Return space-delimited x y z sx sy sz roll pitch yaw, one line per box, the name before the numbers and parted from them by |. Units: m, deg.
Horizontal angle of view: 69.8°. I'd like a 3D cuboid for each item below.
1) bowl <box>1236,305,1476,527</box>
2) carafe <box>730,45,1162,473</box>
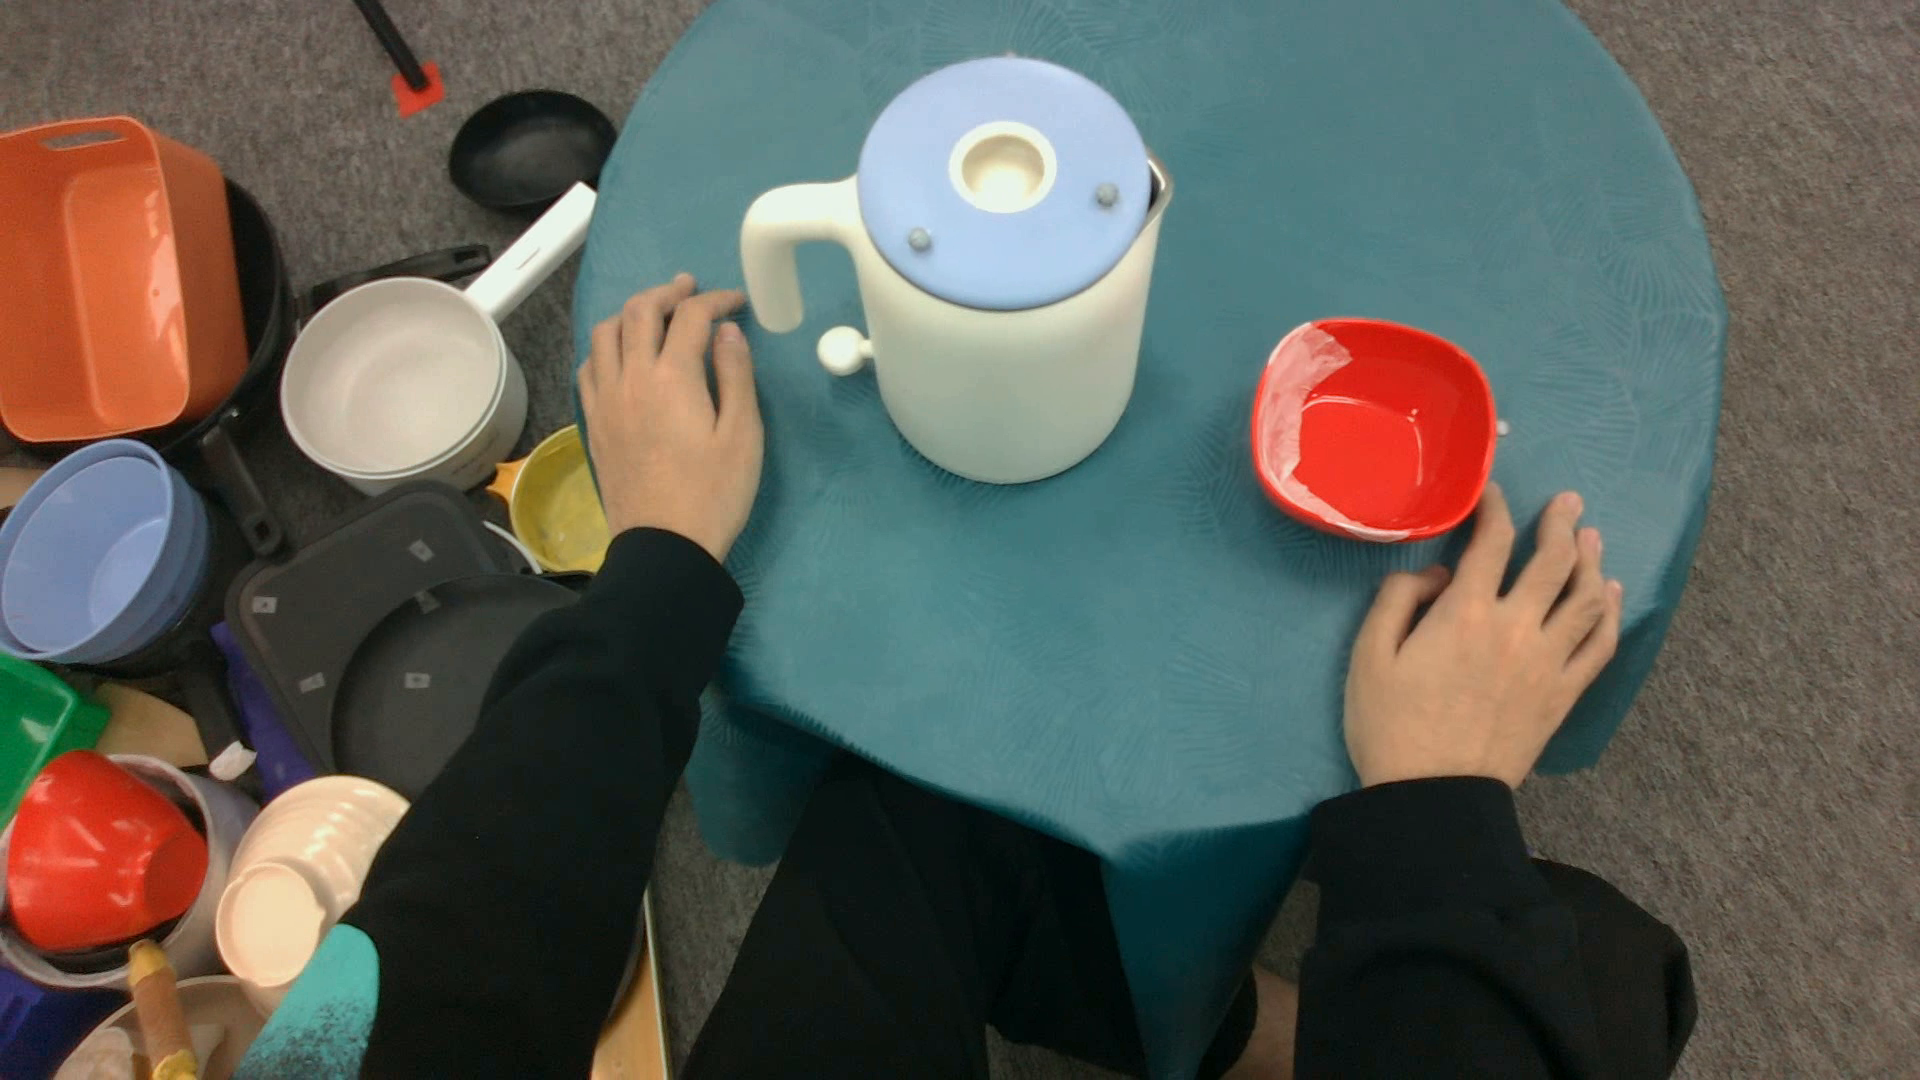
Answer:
bowl | 0.185 -0.052 0.664 0.119 0.051 0.119 1 67 -1
carafe | -0.009 -0.121 0.632 0.191 0.182 0.132 -1 68 3
